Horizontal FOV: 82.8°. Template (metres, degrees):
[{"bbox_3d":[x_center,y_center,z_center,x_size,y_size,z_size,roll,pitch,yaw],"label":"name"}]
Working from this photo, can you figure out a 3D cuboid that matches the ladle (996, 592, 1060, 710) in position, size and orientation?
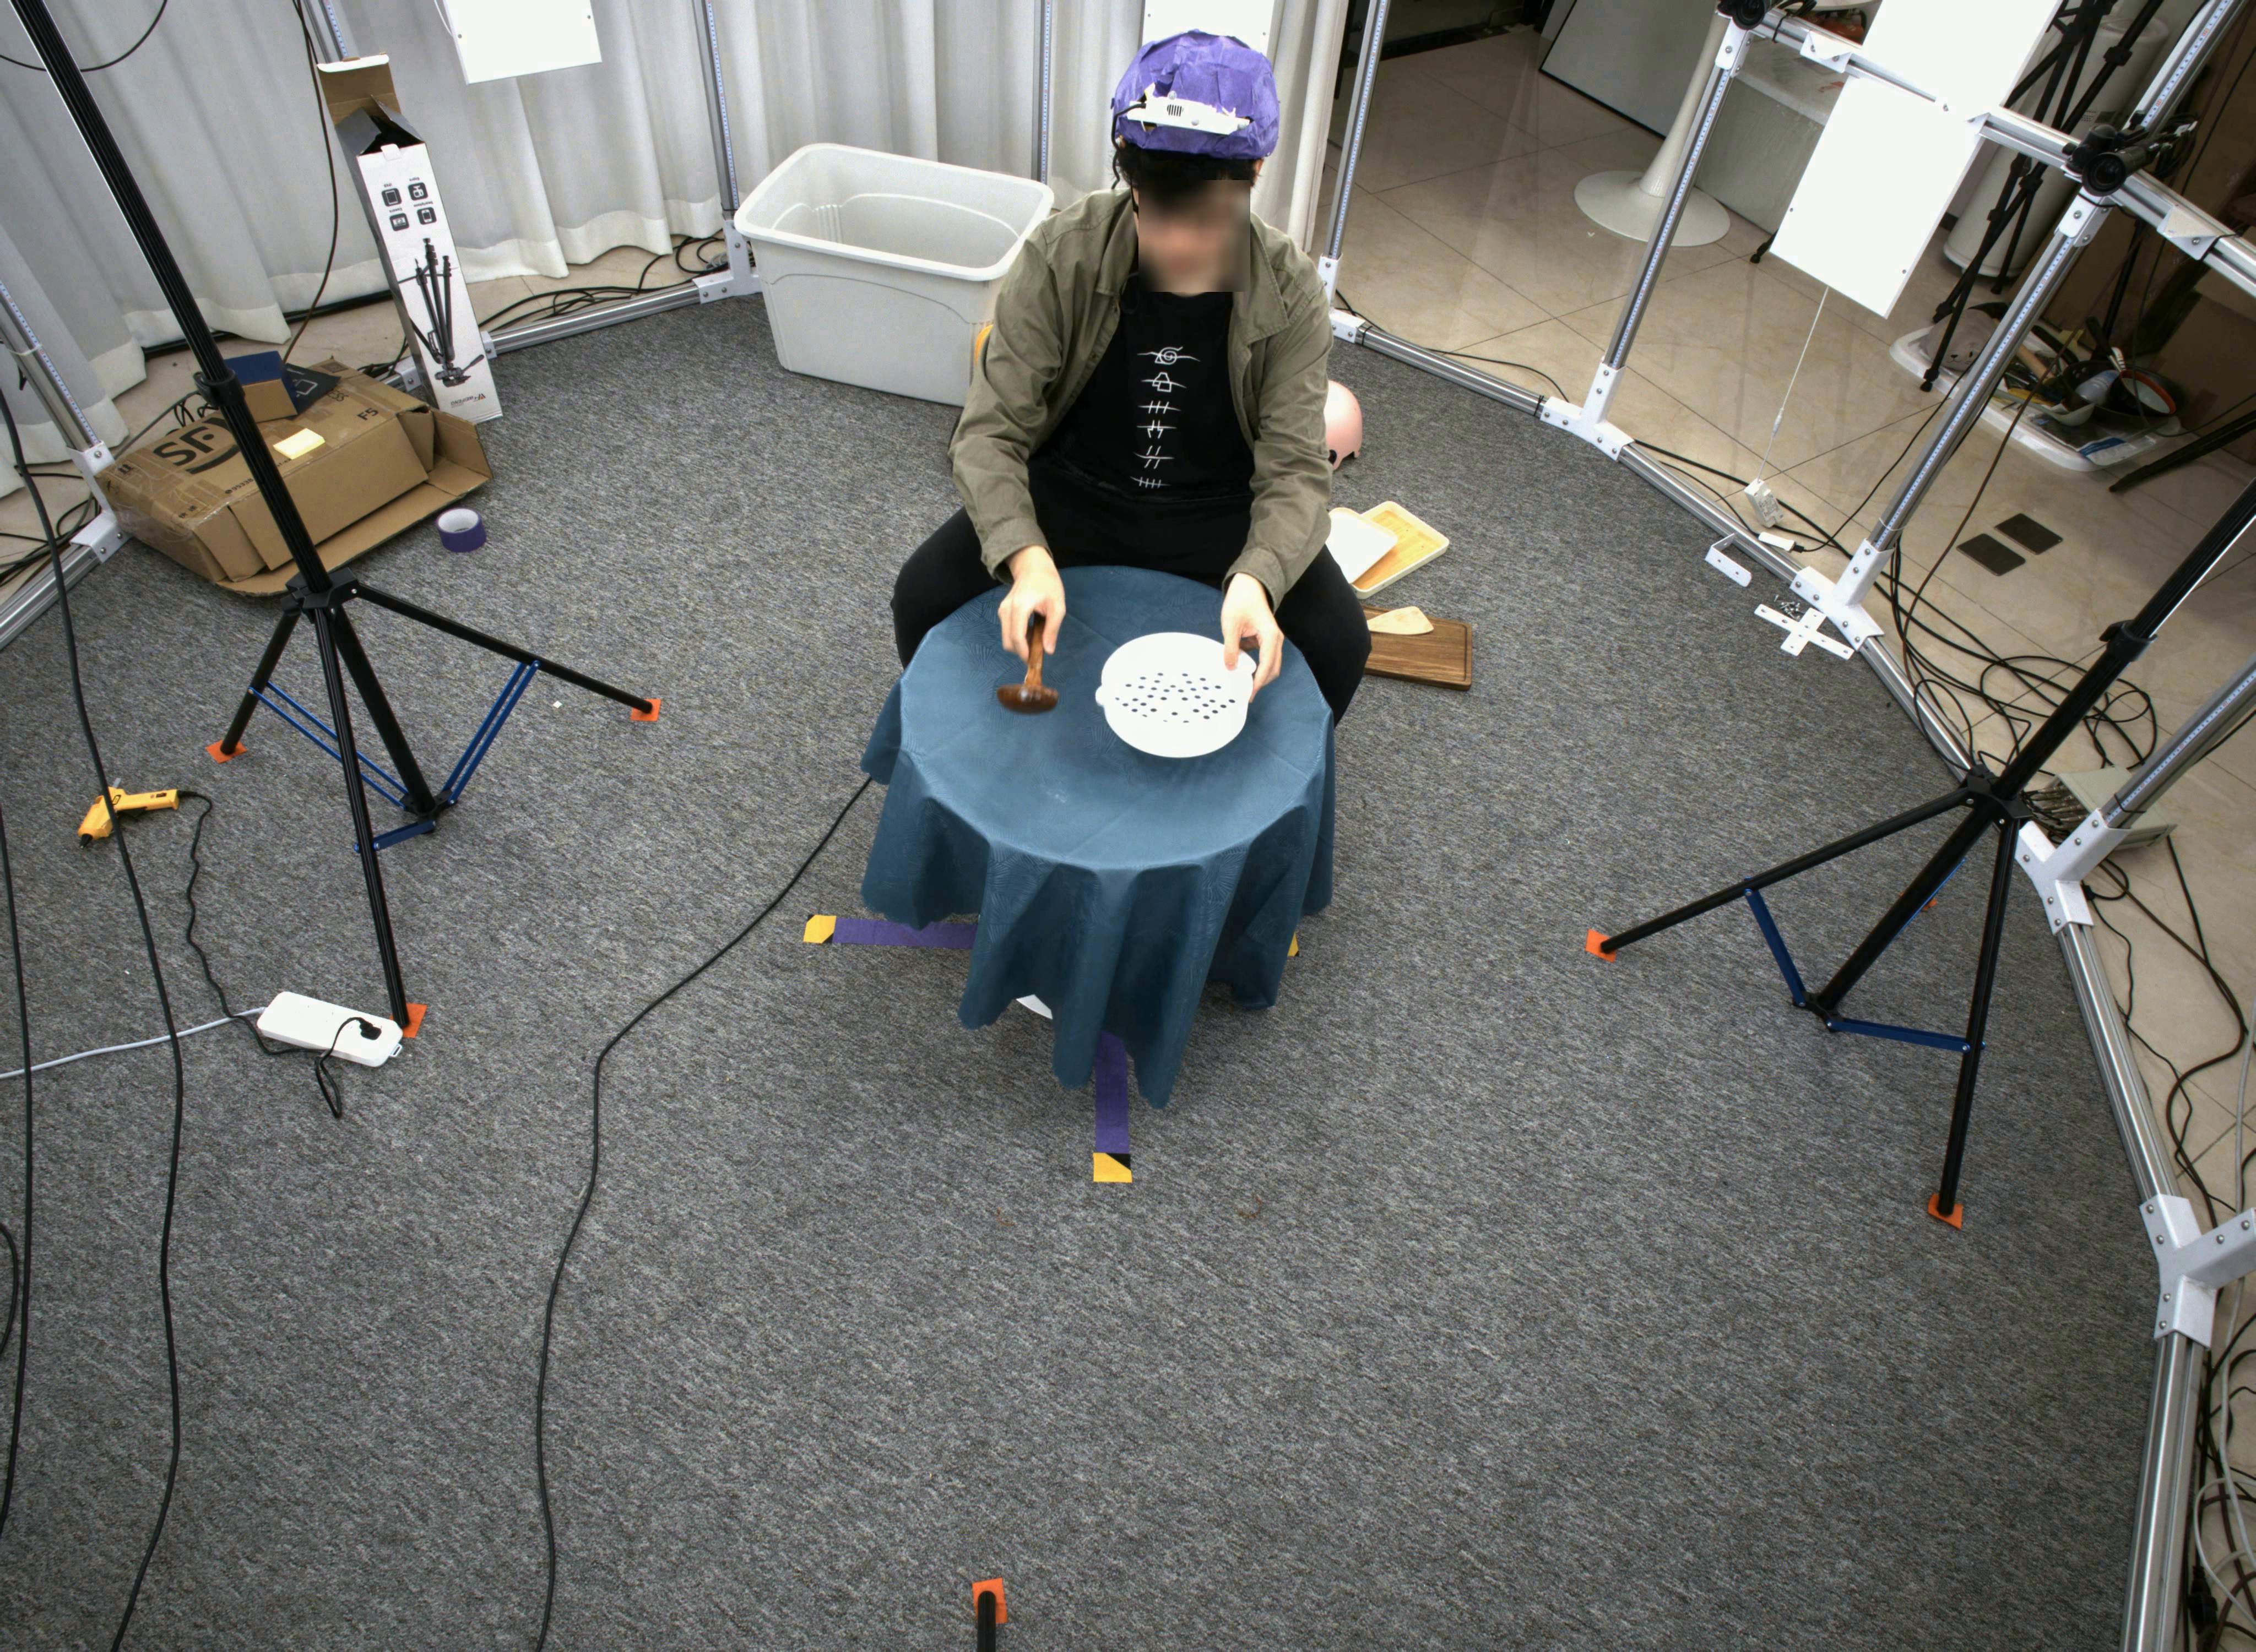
[{"bbox_3d":[-0.122,-0.250,1.711,0.082,0.075,0.281,7,46,-3],"label":"ladle"}]

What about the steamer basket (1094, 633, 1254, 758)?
[{"bbox_3d":[0.061,-0.175,1.723,0.231,0.067,0.206,-20,48,-24],"label":"steamer basket"}]
